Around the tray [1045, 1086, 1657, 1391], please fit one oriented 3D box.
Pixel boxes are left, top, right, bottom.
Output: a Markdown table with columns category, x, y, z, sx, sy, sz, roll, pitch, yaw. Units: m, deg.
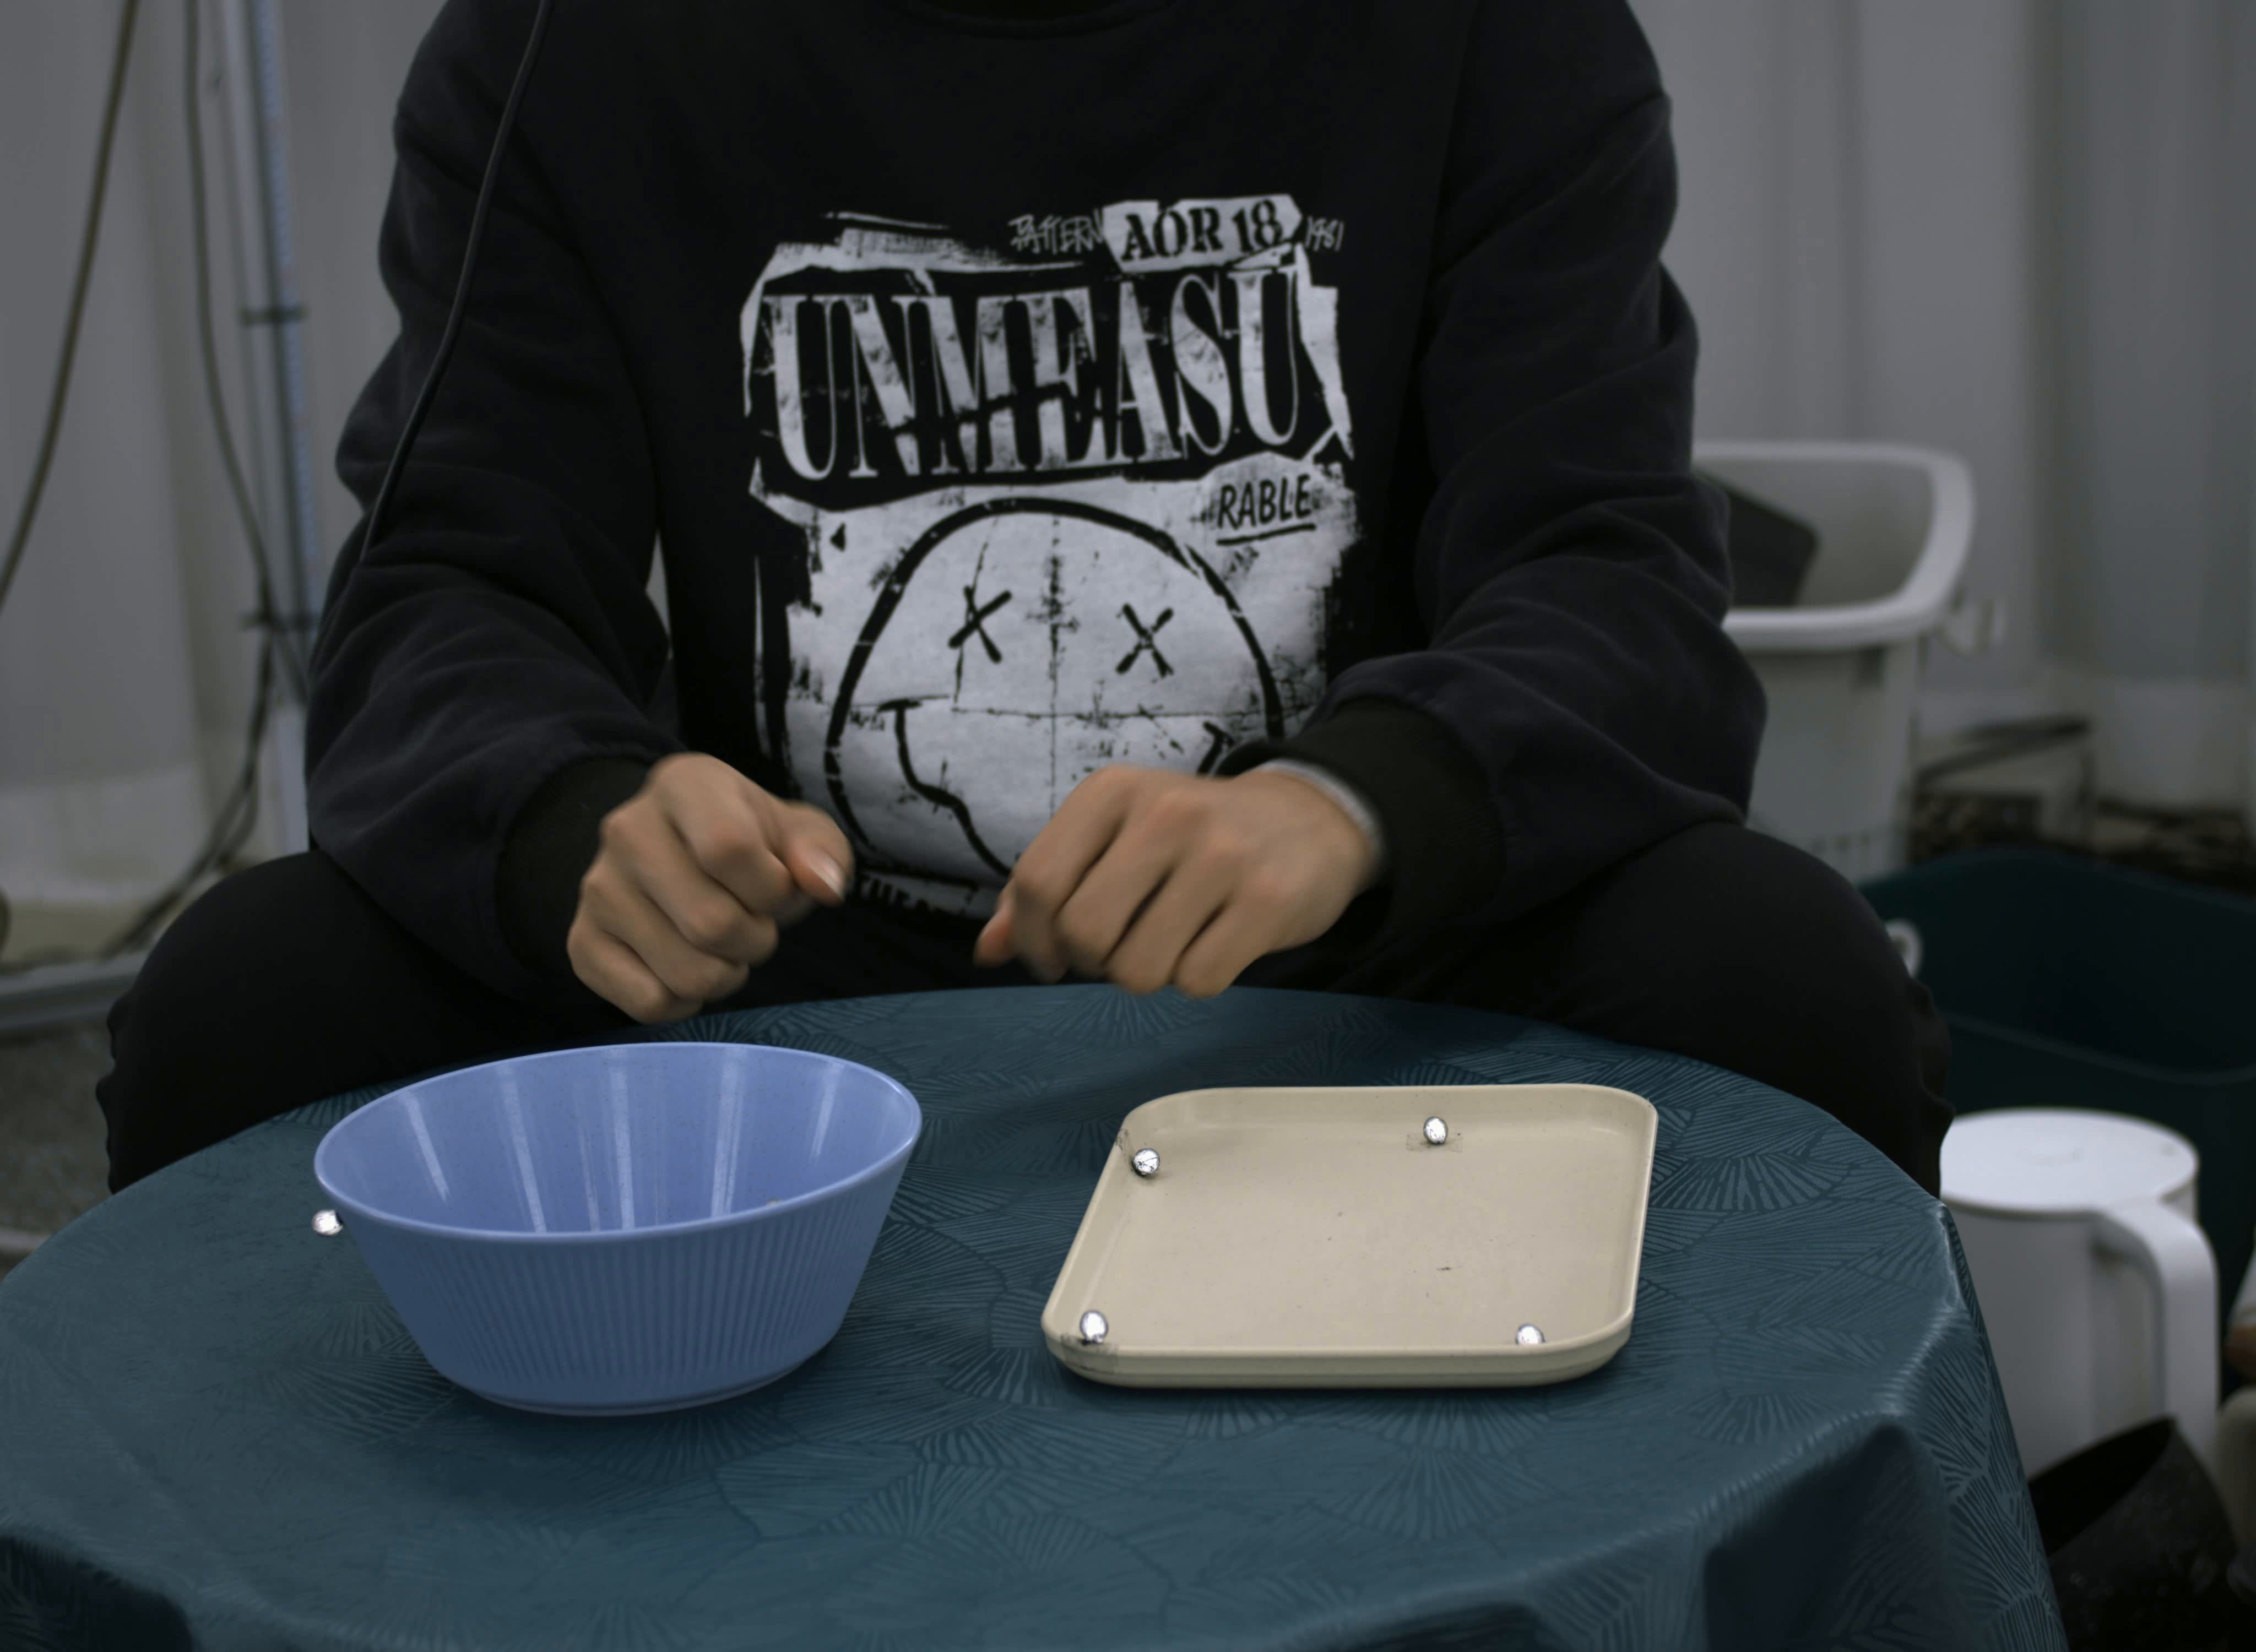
| category | x | y | z | sx | sy | sz | roll | pitch | yaw |
| --- | --- | --- | --- | --- | --- | --- | --- | --- | --- |
| tray | 0.071 | 0.123 | 1.638 | 0.171 | 0.017 | 0.241 | 0 | 15 | 8 |

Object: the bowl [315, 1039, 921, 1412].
| category | x | y | z | sx | sy | sz | roll | pitch | yaw |
| --- | --- | --- | --- | --- | --- | --- | --- | --- | --- |
| bowl | -0.146 | 0.119 | 1.590 | 0.175 | 0.070 | 0.177 | -2 | 15 | 0 |
